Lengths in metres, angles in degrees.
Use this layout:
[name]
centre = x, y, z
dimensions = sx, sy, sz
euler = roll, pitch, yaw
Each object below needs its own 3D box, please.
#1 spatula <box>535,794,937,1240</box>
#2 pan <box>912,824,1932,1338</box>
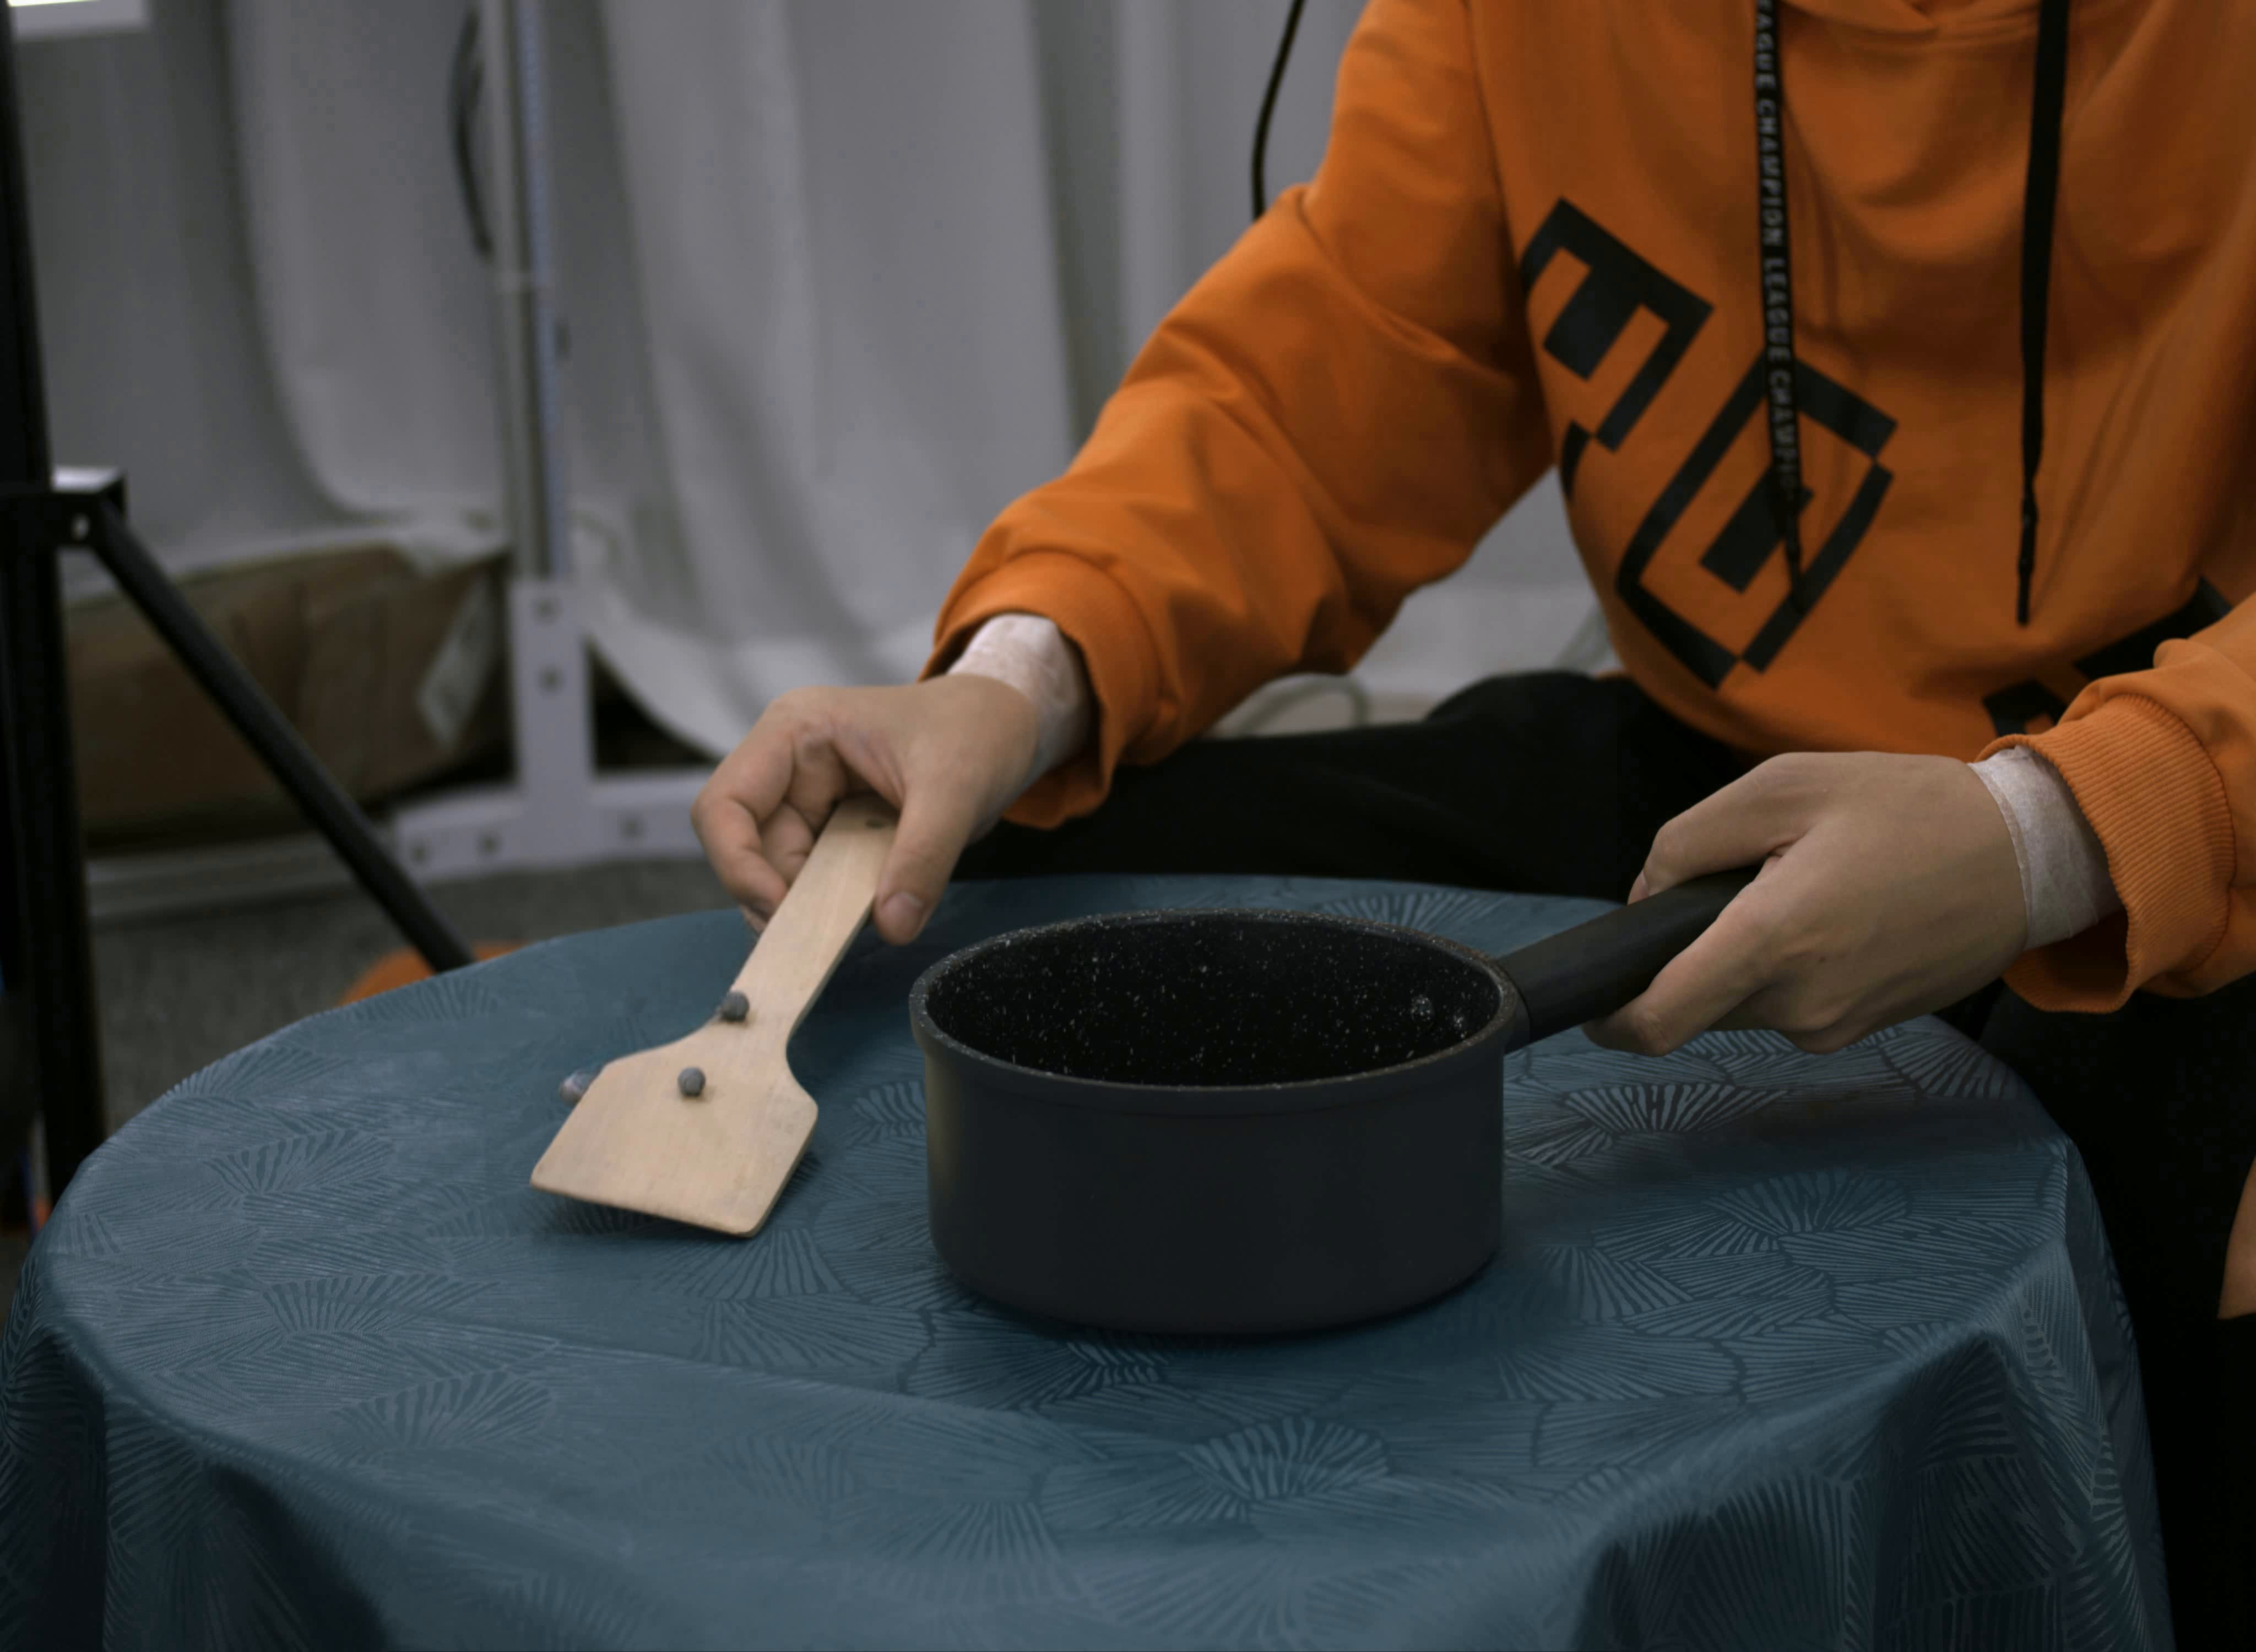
[spatula]
centre = -0.109, 0.053, 1.665
dimensions = 0.072, 0.010, 0.292
euler = 12, 27, 9
[pan]
centre = 0.093, 0.068, 1.531
dimensions = 0.322, 0.086, 0.176
euler = -11, 19, -26
